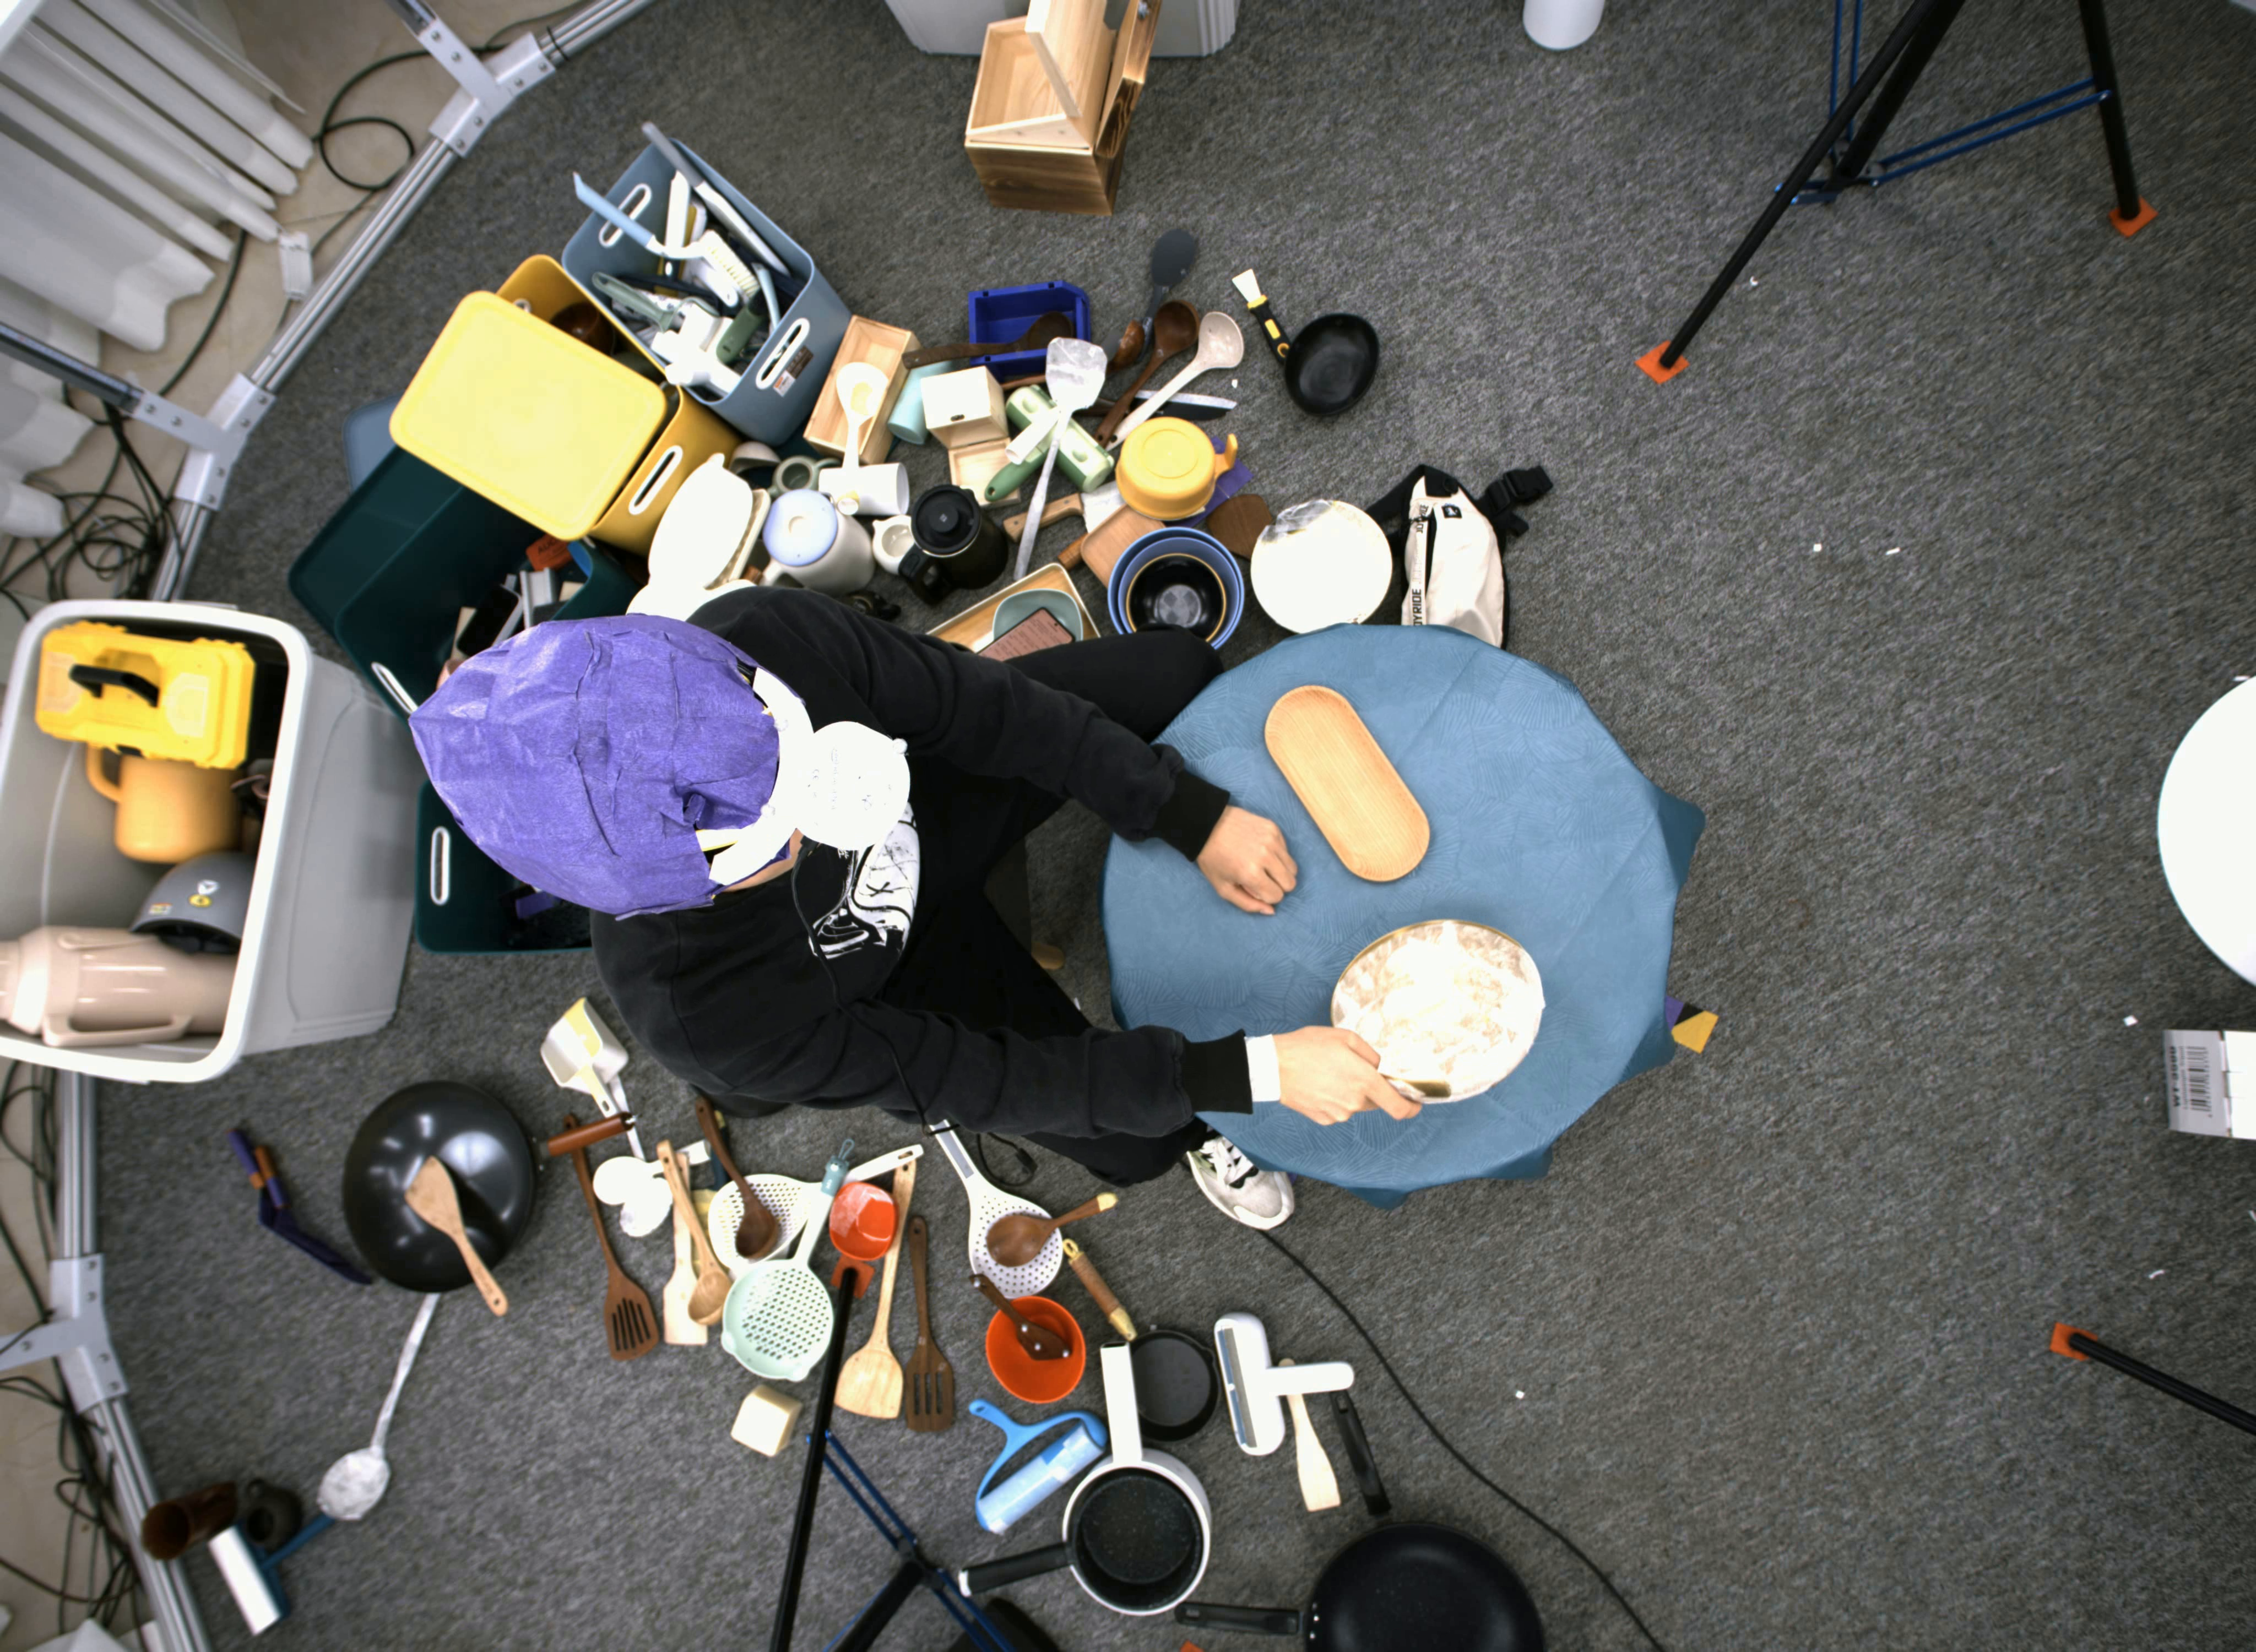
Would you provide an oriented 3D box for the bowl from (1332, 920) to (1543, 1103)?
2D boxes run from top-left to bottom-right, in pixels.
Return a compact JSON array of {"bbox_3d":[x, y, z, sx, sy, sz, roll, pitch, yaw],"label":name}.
[{"bbox_3d":[0.306,0.193,1.351,0.216,0.209,0.096,-17,127,13],"label":"bowl"}]

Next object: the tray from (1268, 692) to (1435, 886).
[{"bbox_3d":[0.238,-0.041,1.471,0.102,0.020,0.230,-35,83,8],"label":"tray"}]
